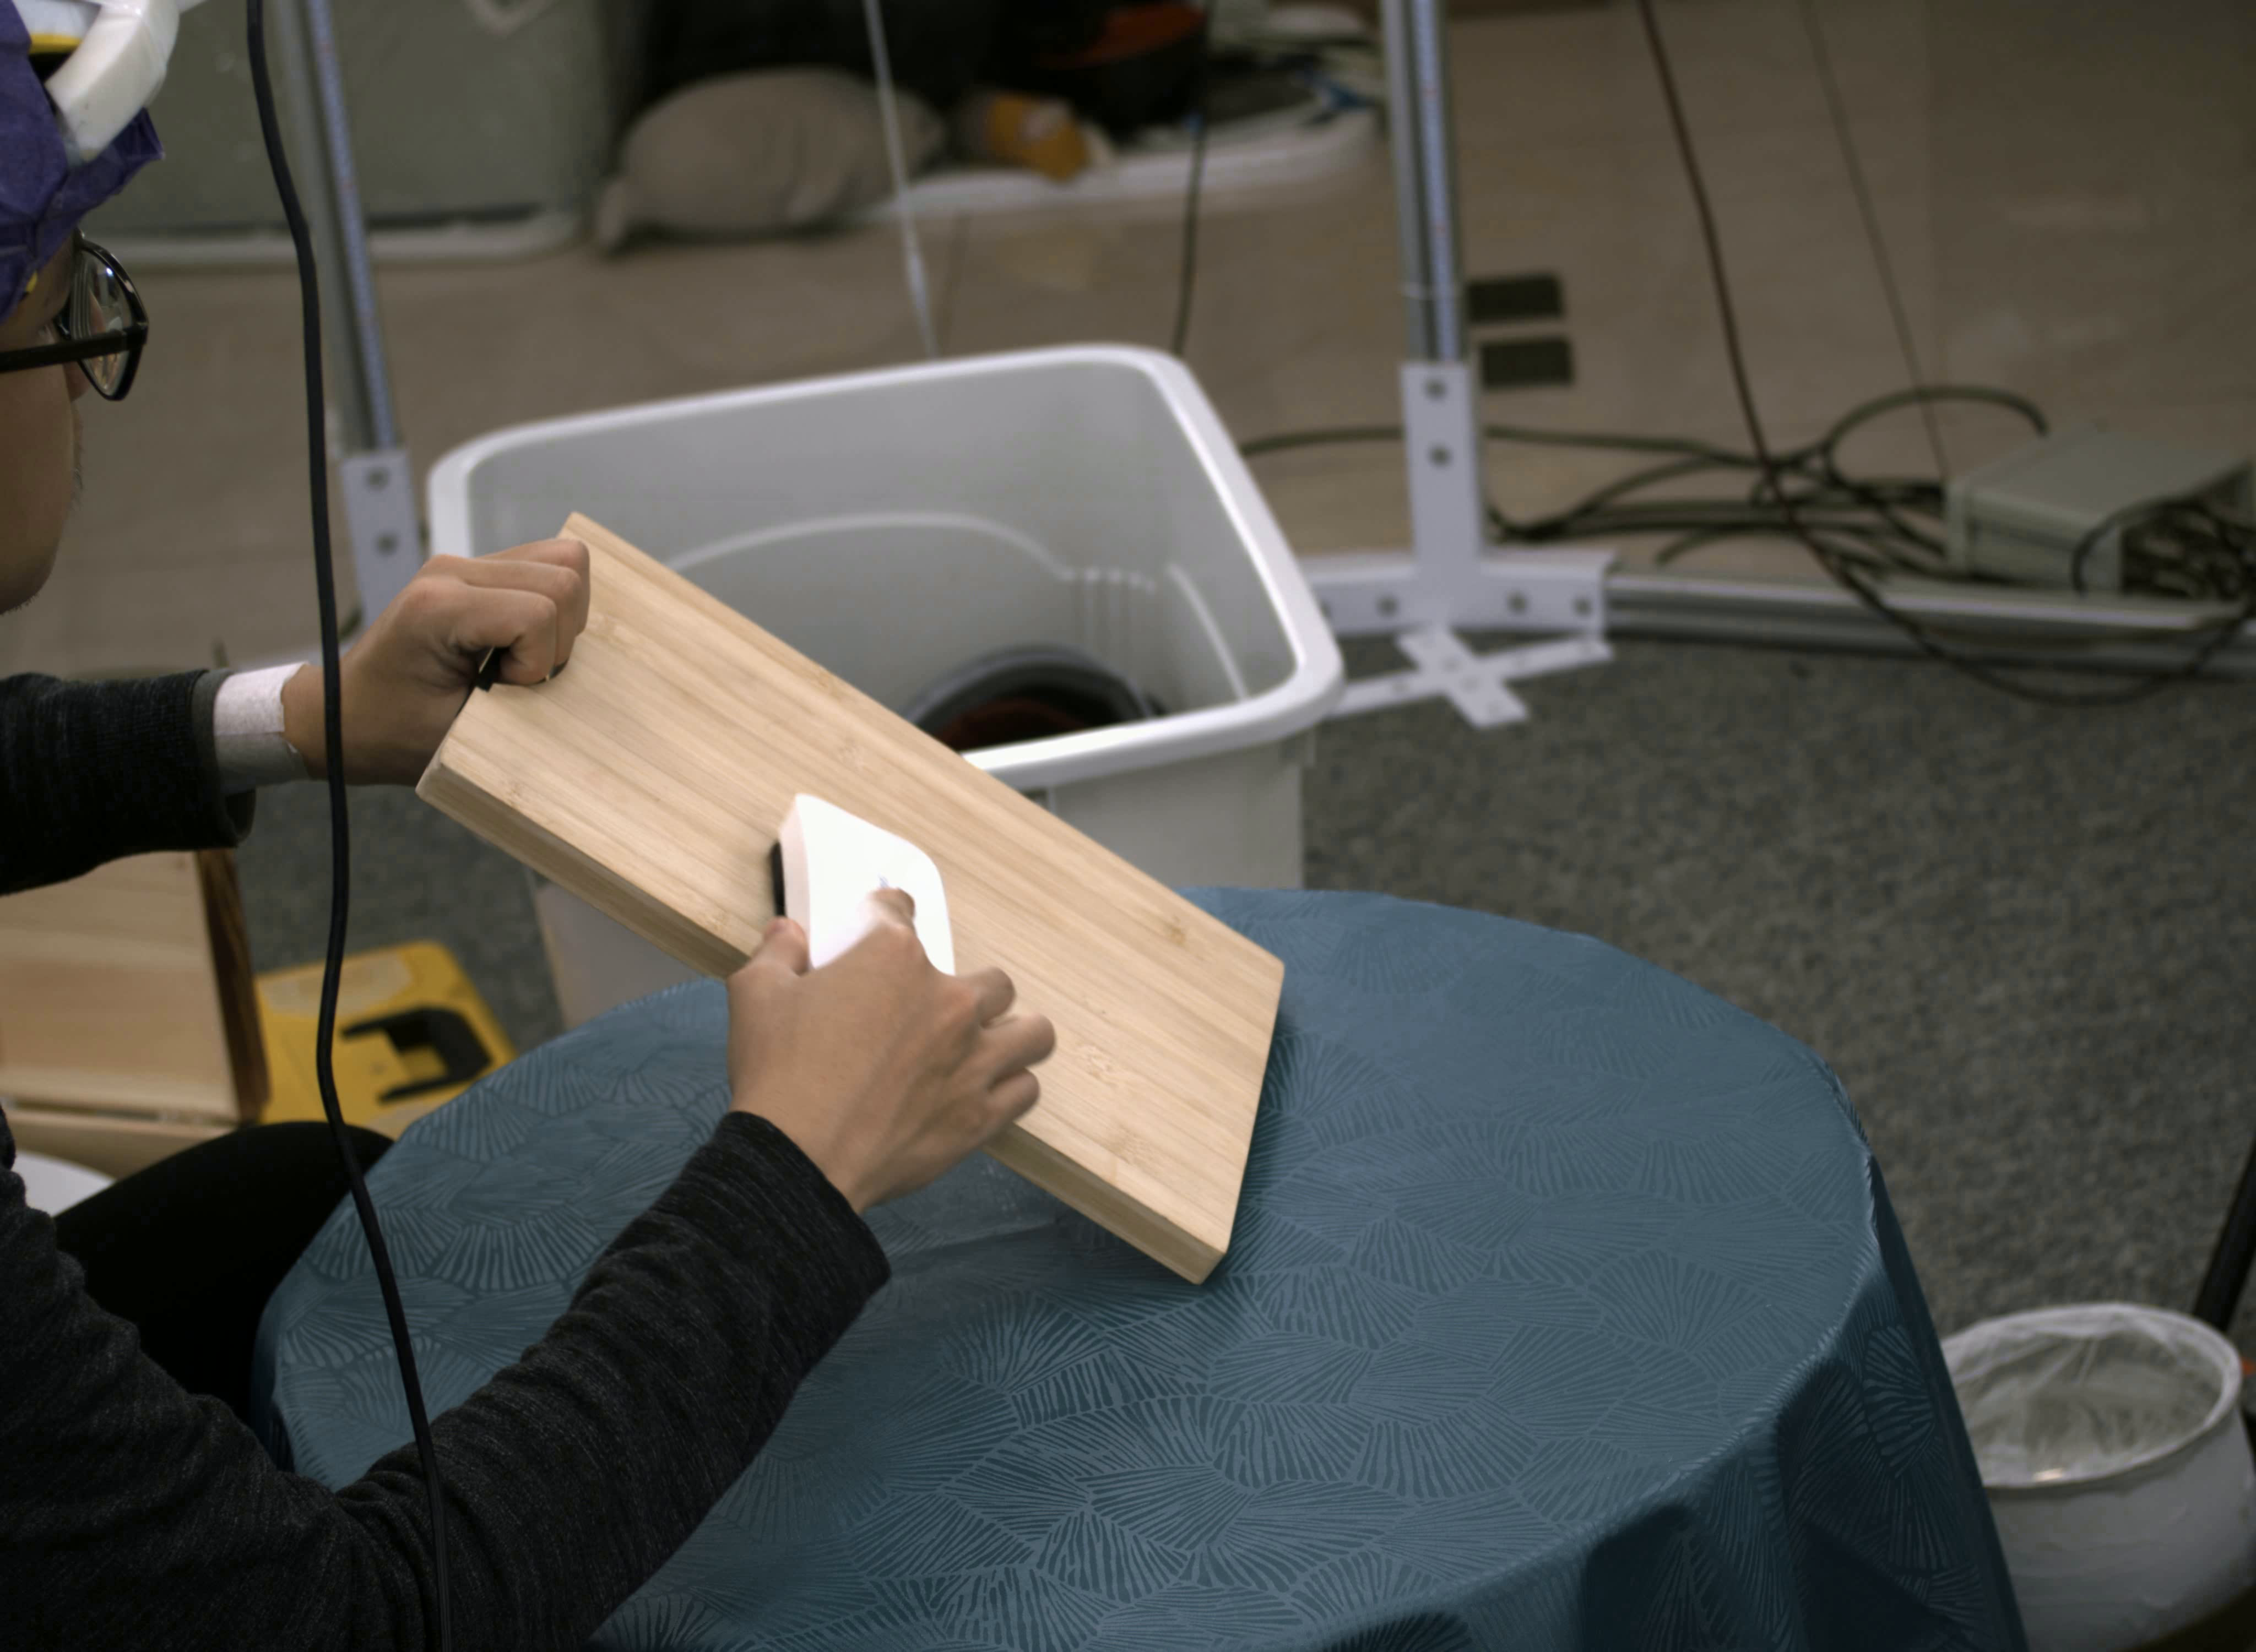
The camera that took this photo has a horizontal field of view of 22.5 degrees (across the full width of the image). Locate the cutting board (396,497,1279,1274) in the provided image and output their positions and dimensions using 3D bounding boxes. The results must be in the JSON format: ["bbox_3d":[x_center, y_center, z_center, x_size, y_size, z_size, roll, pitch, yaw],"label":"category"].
[{"bbox_3d":[-0.101,0.019,2.151,0.349,0.024,0.247,32,25,-10],"label":"cutting board"}]

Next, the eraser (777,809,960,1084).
[{"bbox_3d":[-0.096,0.040,2.061,0.064,0.035,0.129,26,26,-20],"label":"eraser"}]
